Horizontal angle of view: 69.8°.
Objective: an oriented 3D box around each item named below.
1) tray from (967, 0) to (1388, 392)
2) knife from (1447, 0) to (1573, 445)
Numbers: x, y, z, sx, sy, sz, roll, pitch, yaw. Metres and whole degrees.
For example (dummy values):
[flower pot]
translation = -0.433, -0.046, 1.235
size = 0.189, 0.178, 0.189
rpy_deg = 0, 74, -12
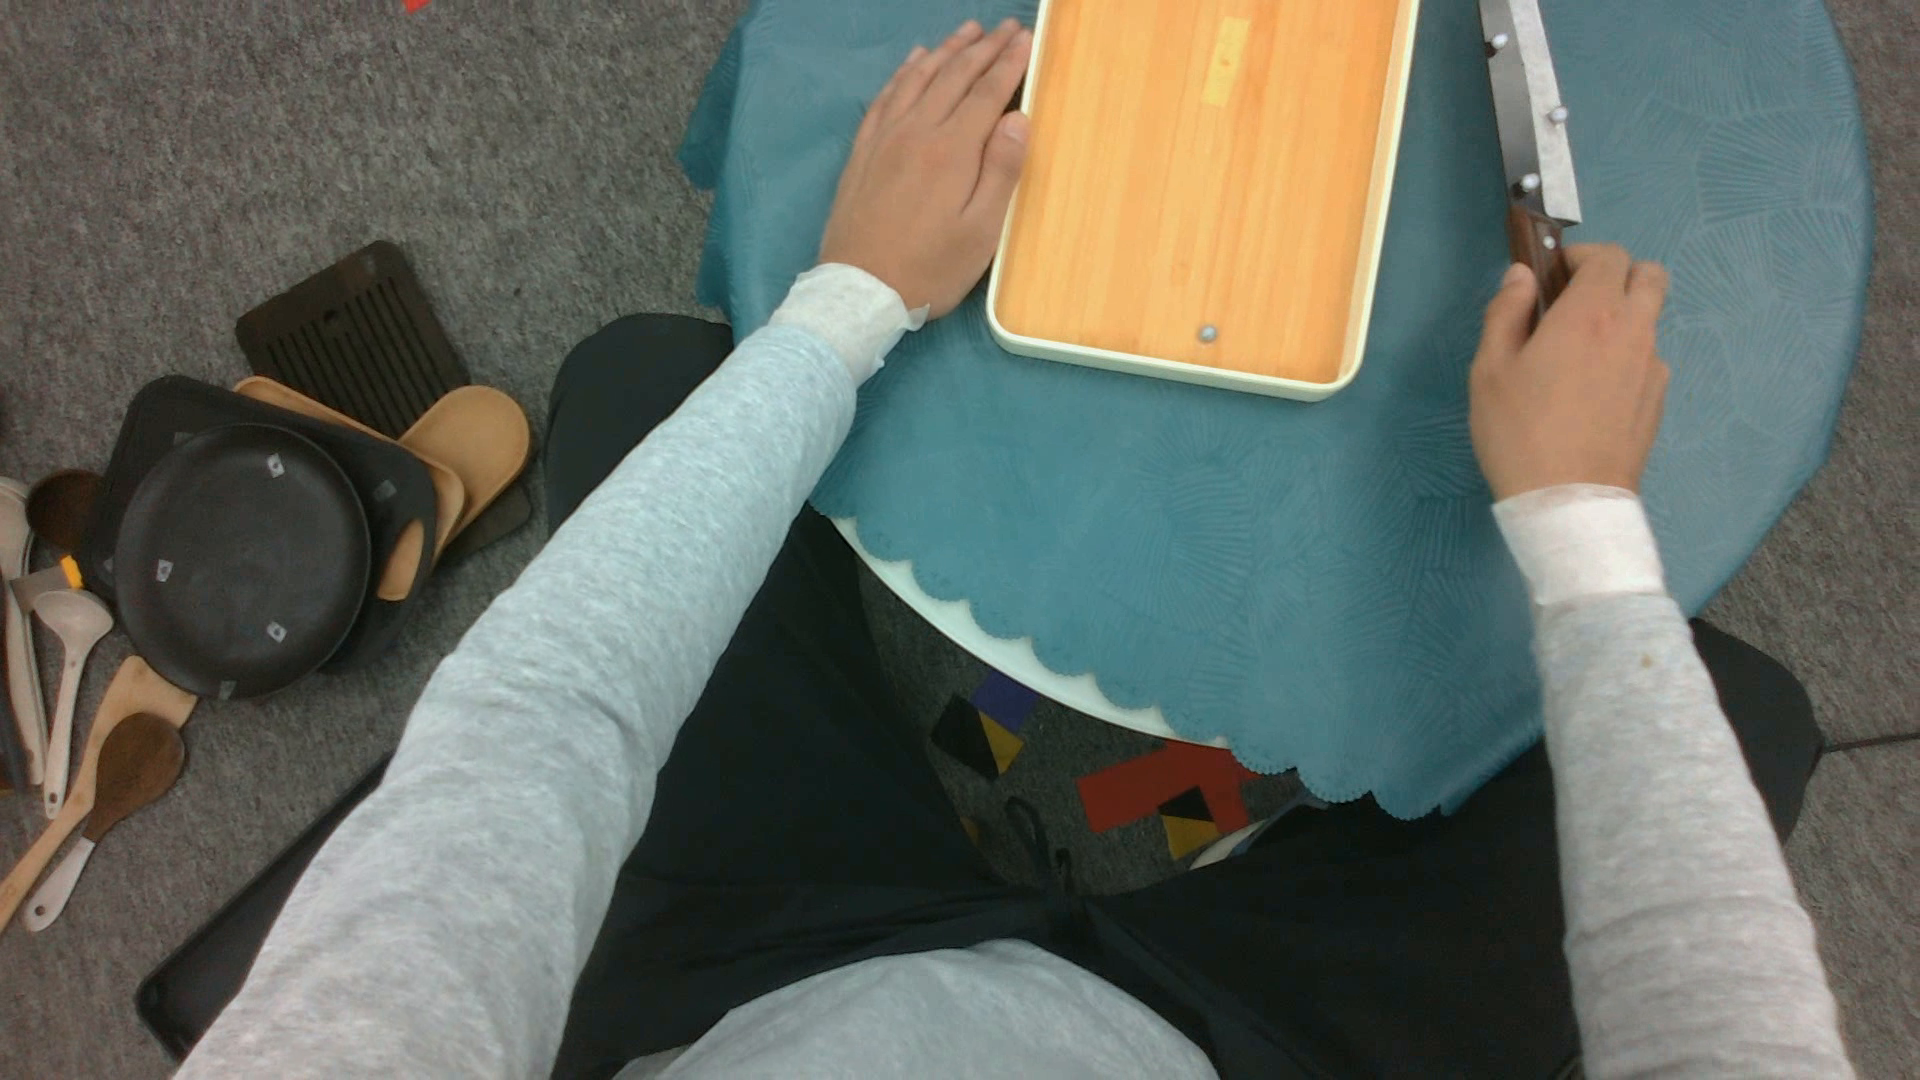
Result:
[tray]
translation = 0.119, -0.235, 0.720
size = 0.191, 0.027, 0.300
rpy_deg = 10, 82, 2
[knife]
translation = 0.276, -0.185, 0.693
size = 0.050, 0.020, 0.290
rpy_deg = 4, 74, -21
